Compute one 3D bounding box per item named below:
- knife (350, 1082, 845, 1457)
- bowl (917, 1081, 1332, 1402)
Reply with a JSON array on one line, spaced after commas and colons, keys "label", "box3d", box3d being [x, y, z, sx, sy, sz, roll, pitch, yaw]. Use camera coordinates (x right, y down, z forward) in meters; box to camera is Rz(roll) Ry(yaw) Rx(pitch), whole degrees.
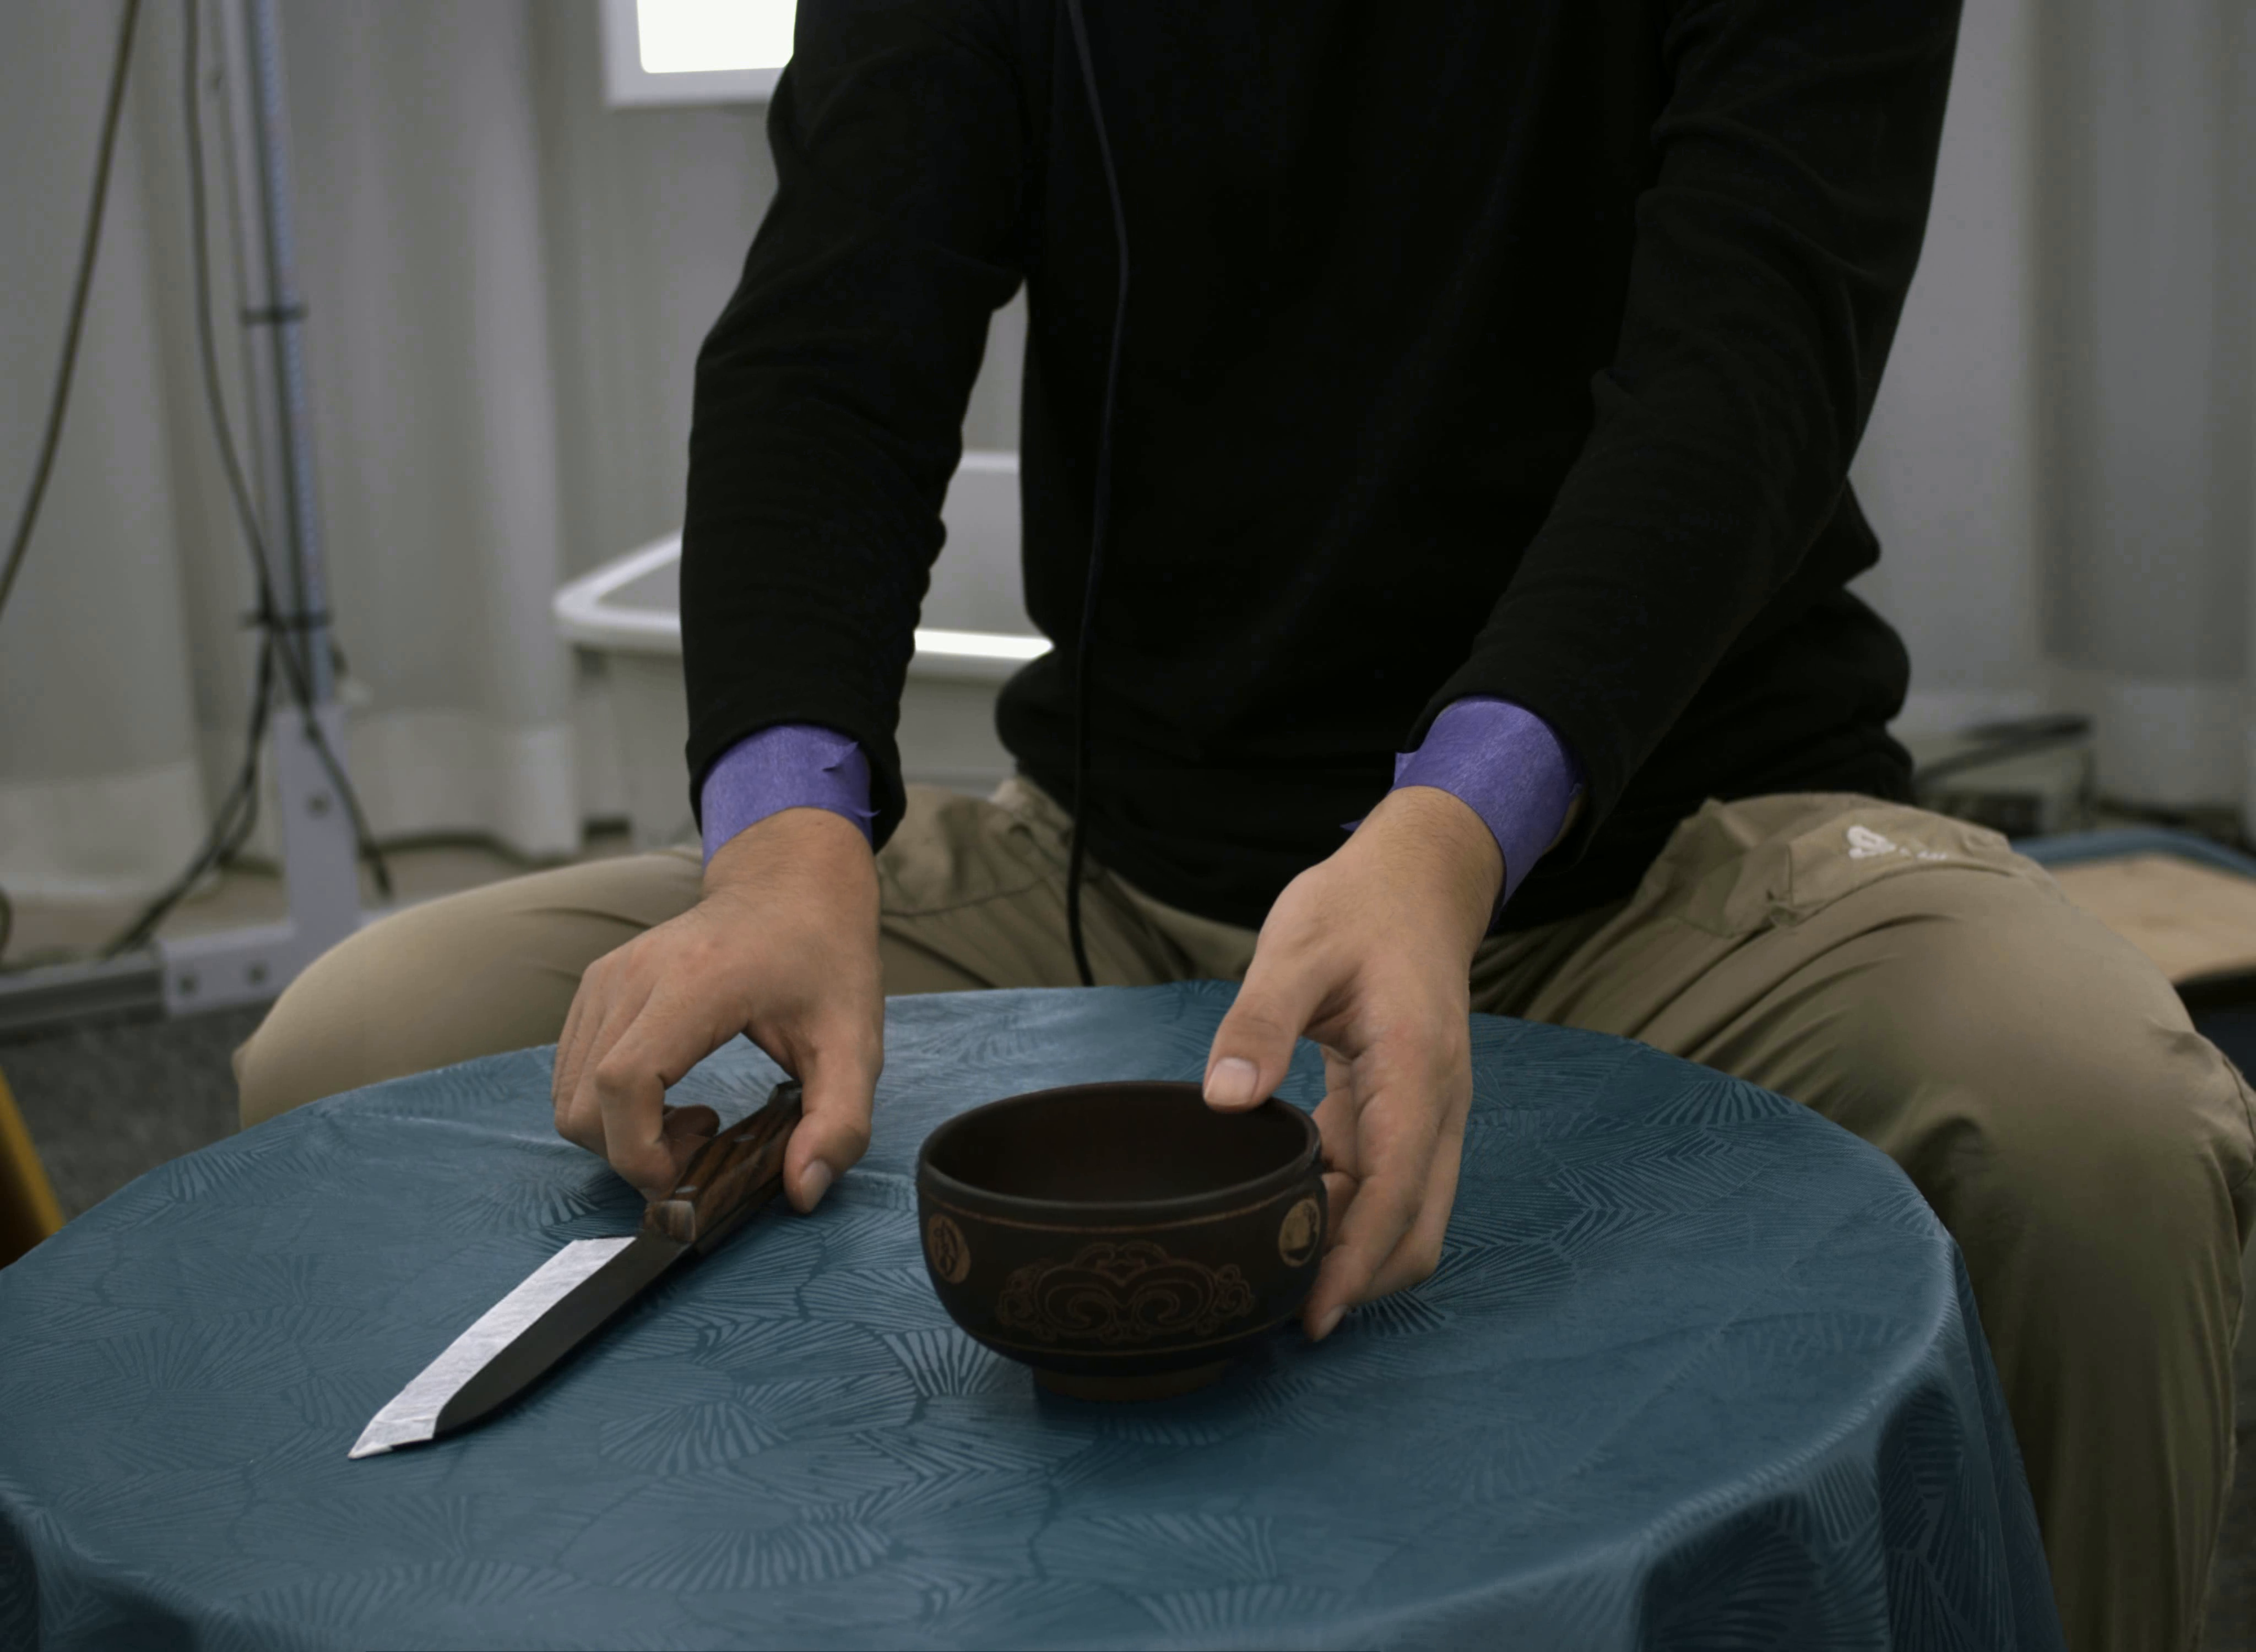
[{"label": "knife", "box3d": [-0.155, 0.133, 1.646, 0.050, 0.020, 0.290, -4, 15, 25]}, {"label": "bowl", "box3d": [0.000, 0.122, 1.554, 0.117, 0.069, 0.119, -3, 13, 0]}]
